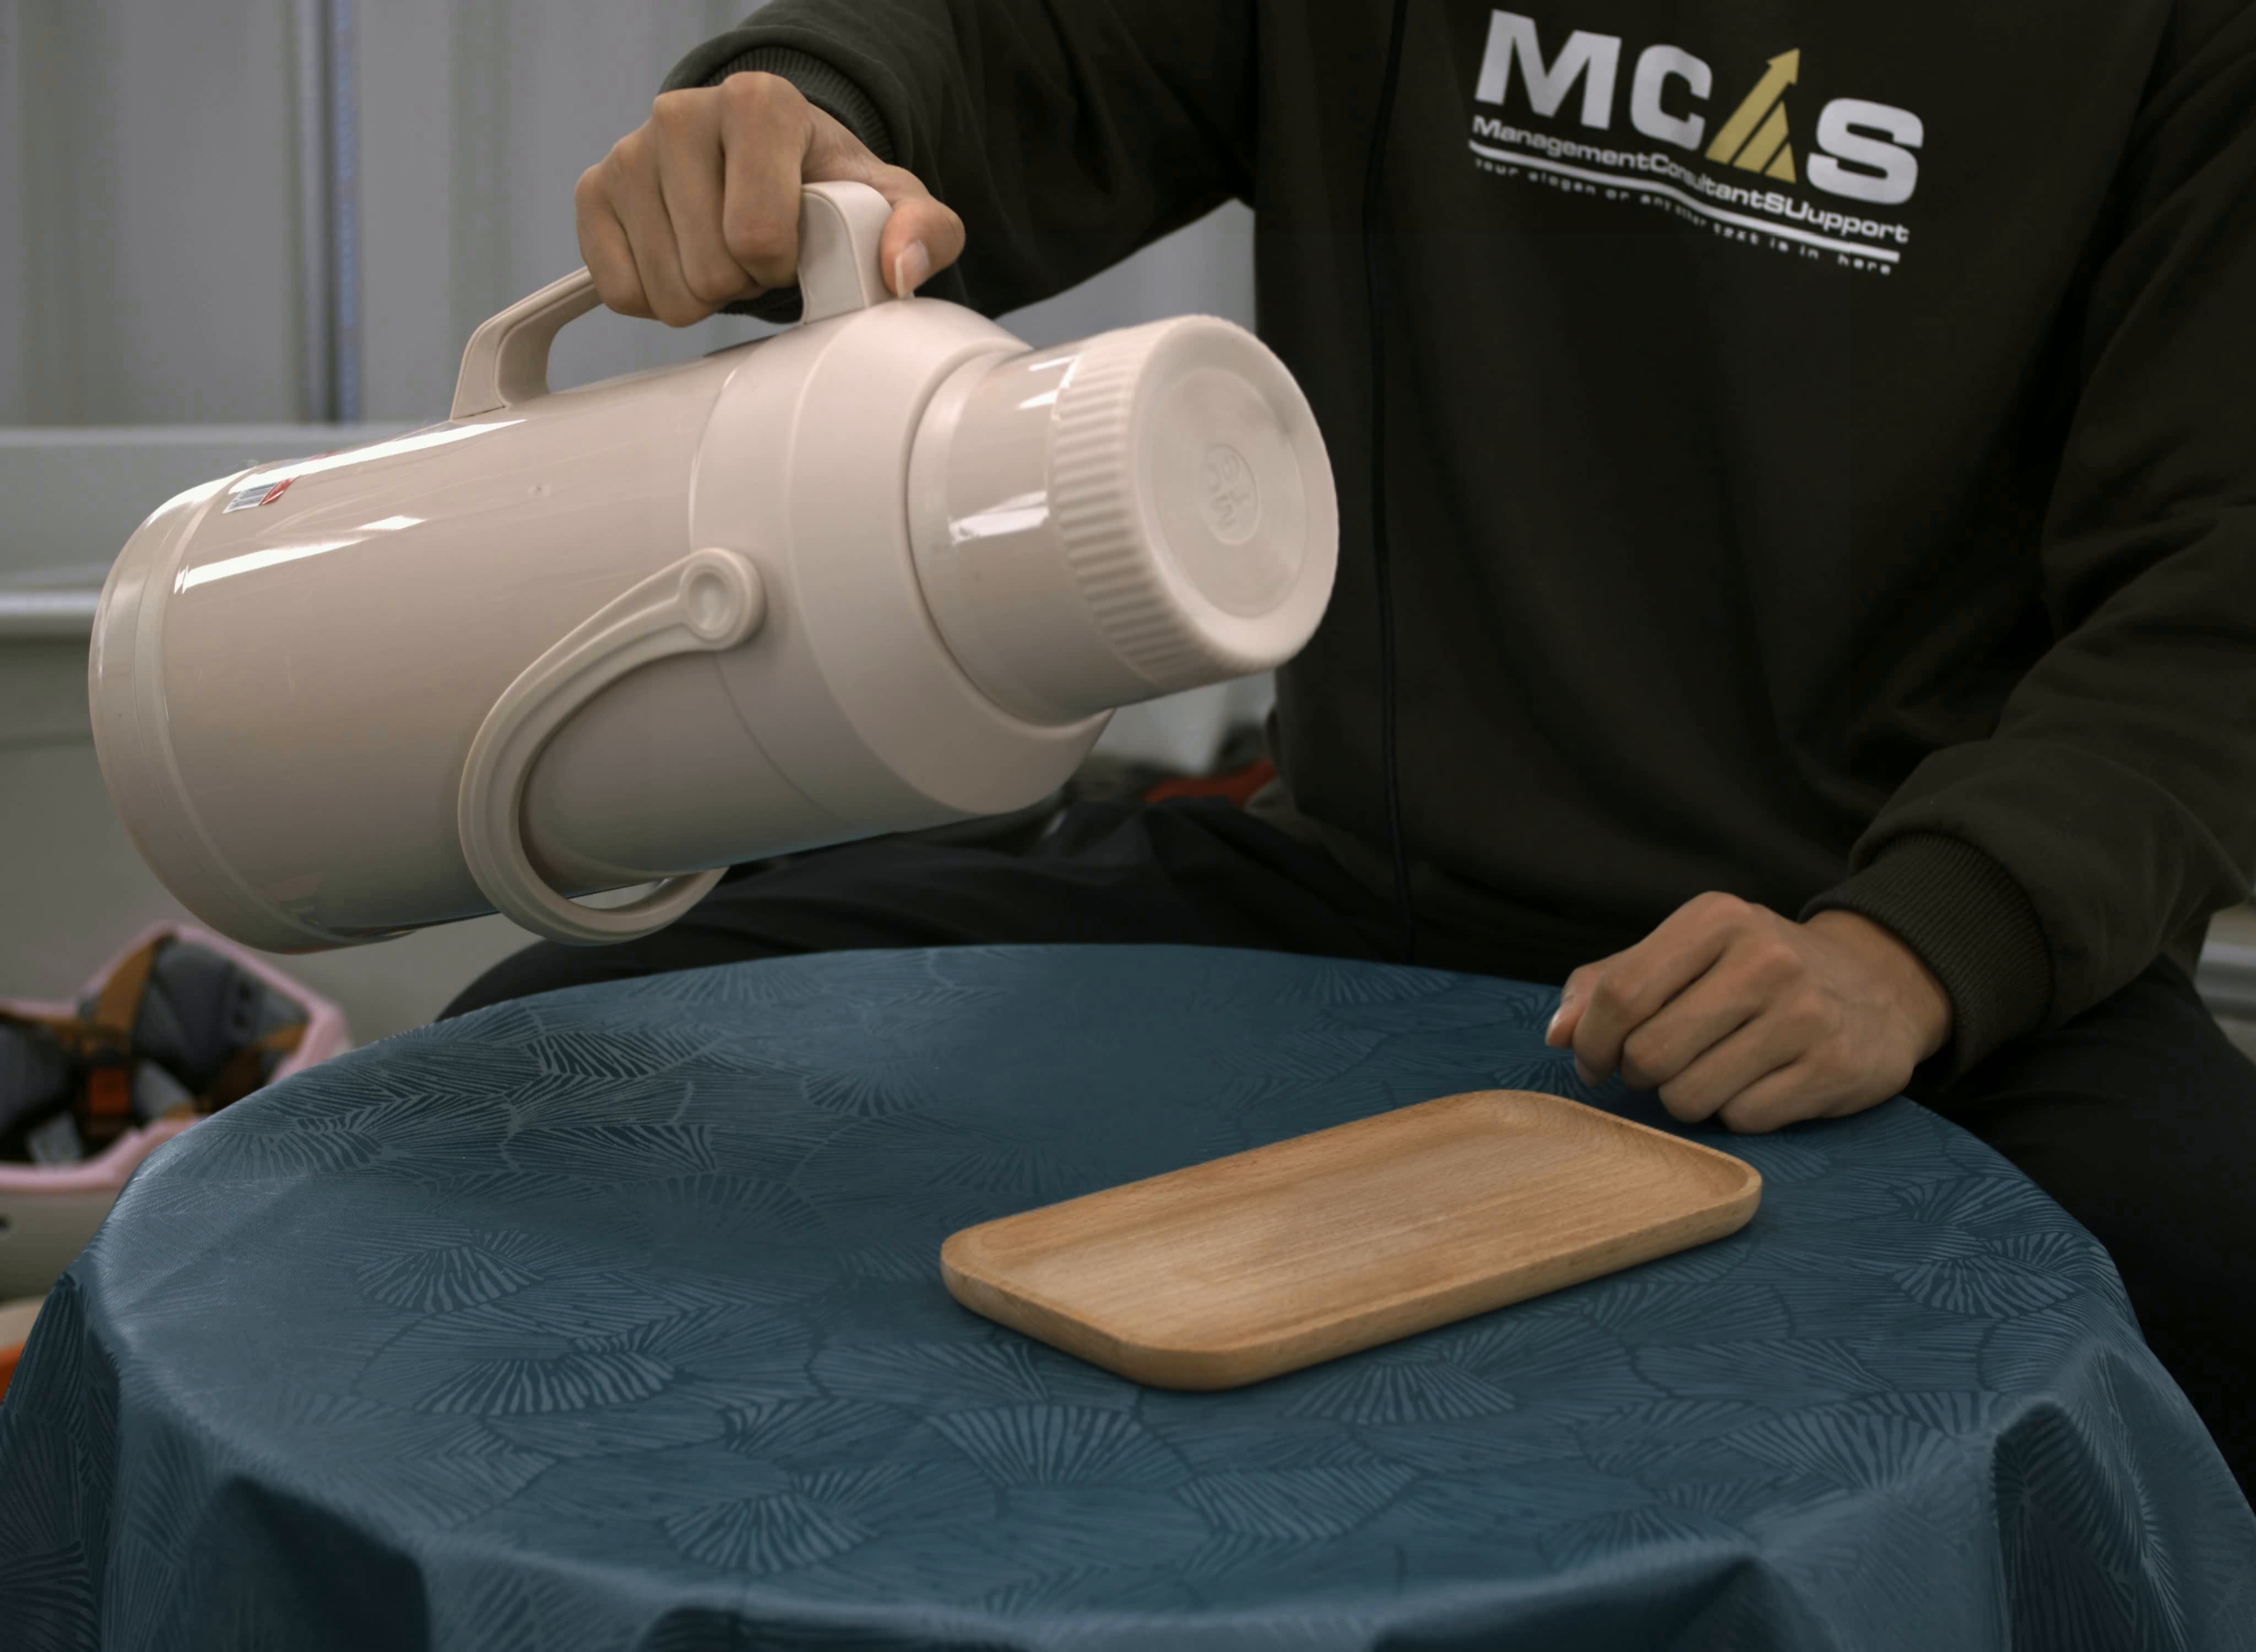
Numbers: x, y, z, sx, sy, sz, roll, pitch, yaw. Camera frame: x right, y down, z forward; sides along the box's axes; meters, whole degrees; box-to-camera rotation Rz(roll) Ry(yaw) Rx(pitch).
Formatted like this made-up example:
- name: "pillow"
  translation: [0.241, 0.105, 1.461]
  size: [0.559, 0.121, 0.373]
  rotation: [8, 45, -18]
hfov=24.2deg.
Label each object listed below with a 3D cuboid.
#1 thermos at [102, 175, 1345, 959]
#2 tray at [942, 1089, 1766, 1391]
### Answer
- name: "thermos"
  translation: [-0.127, -0.080, 1.615]
  size: [0.402, 0.208, 0.176]
  rotation: [-11, 2, 38]
- name: "tray"
  translation: [0.070, 0.121, 1.573]
  size: [0.252, 0.023, 0.129]
  rotation: [-11, 22, -39]
